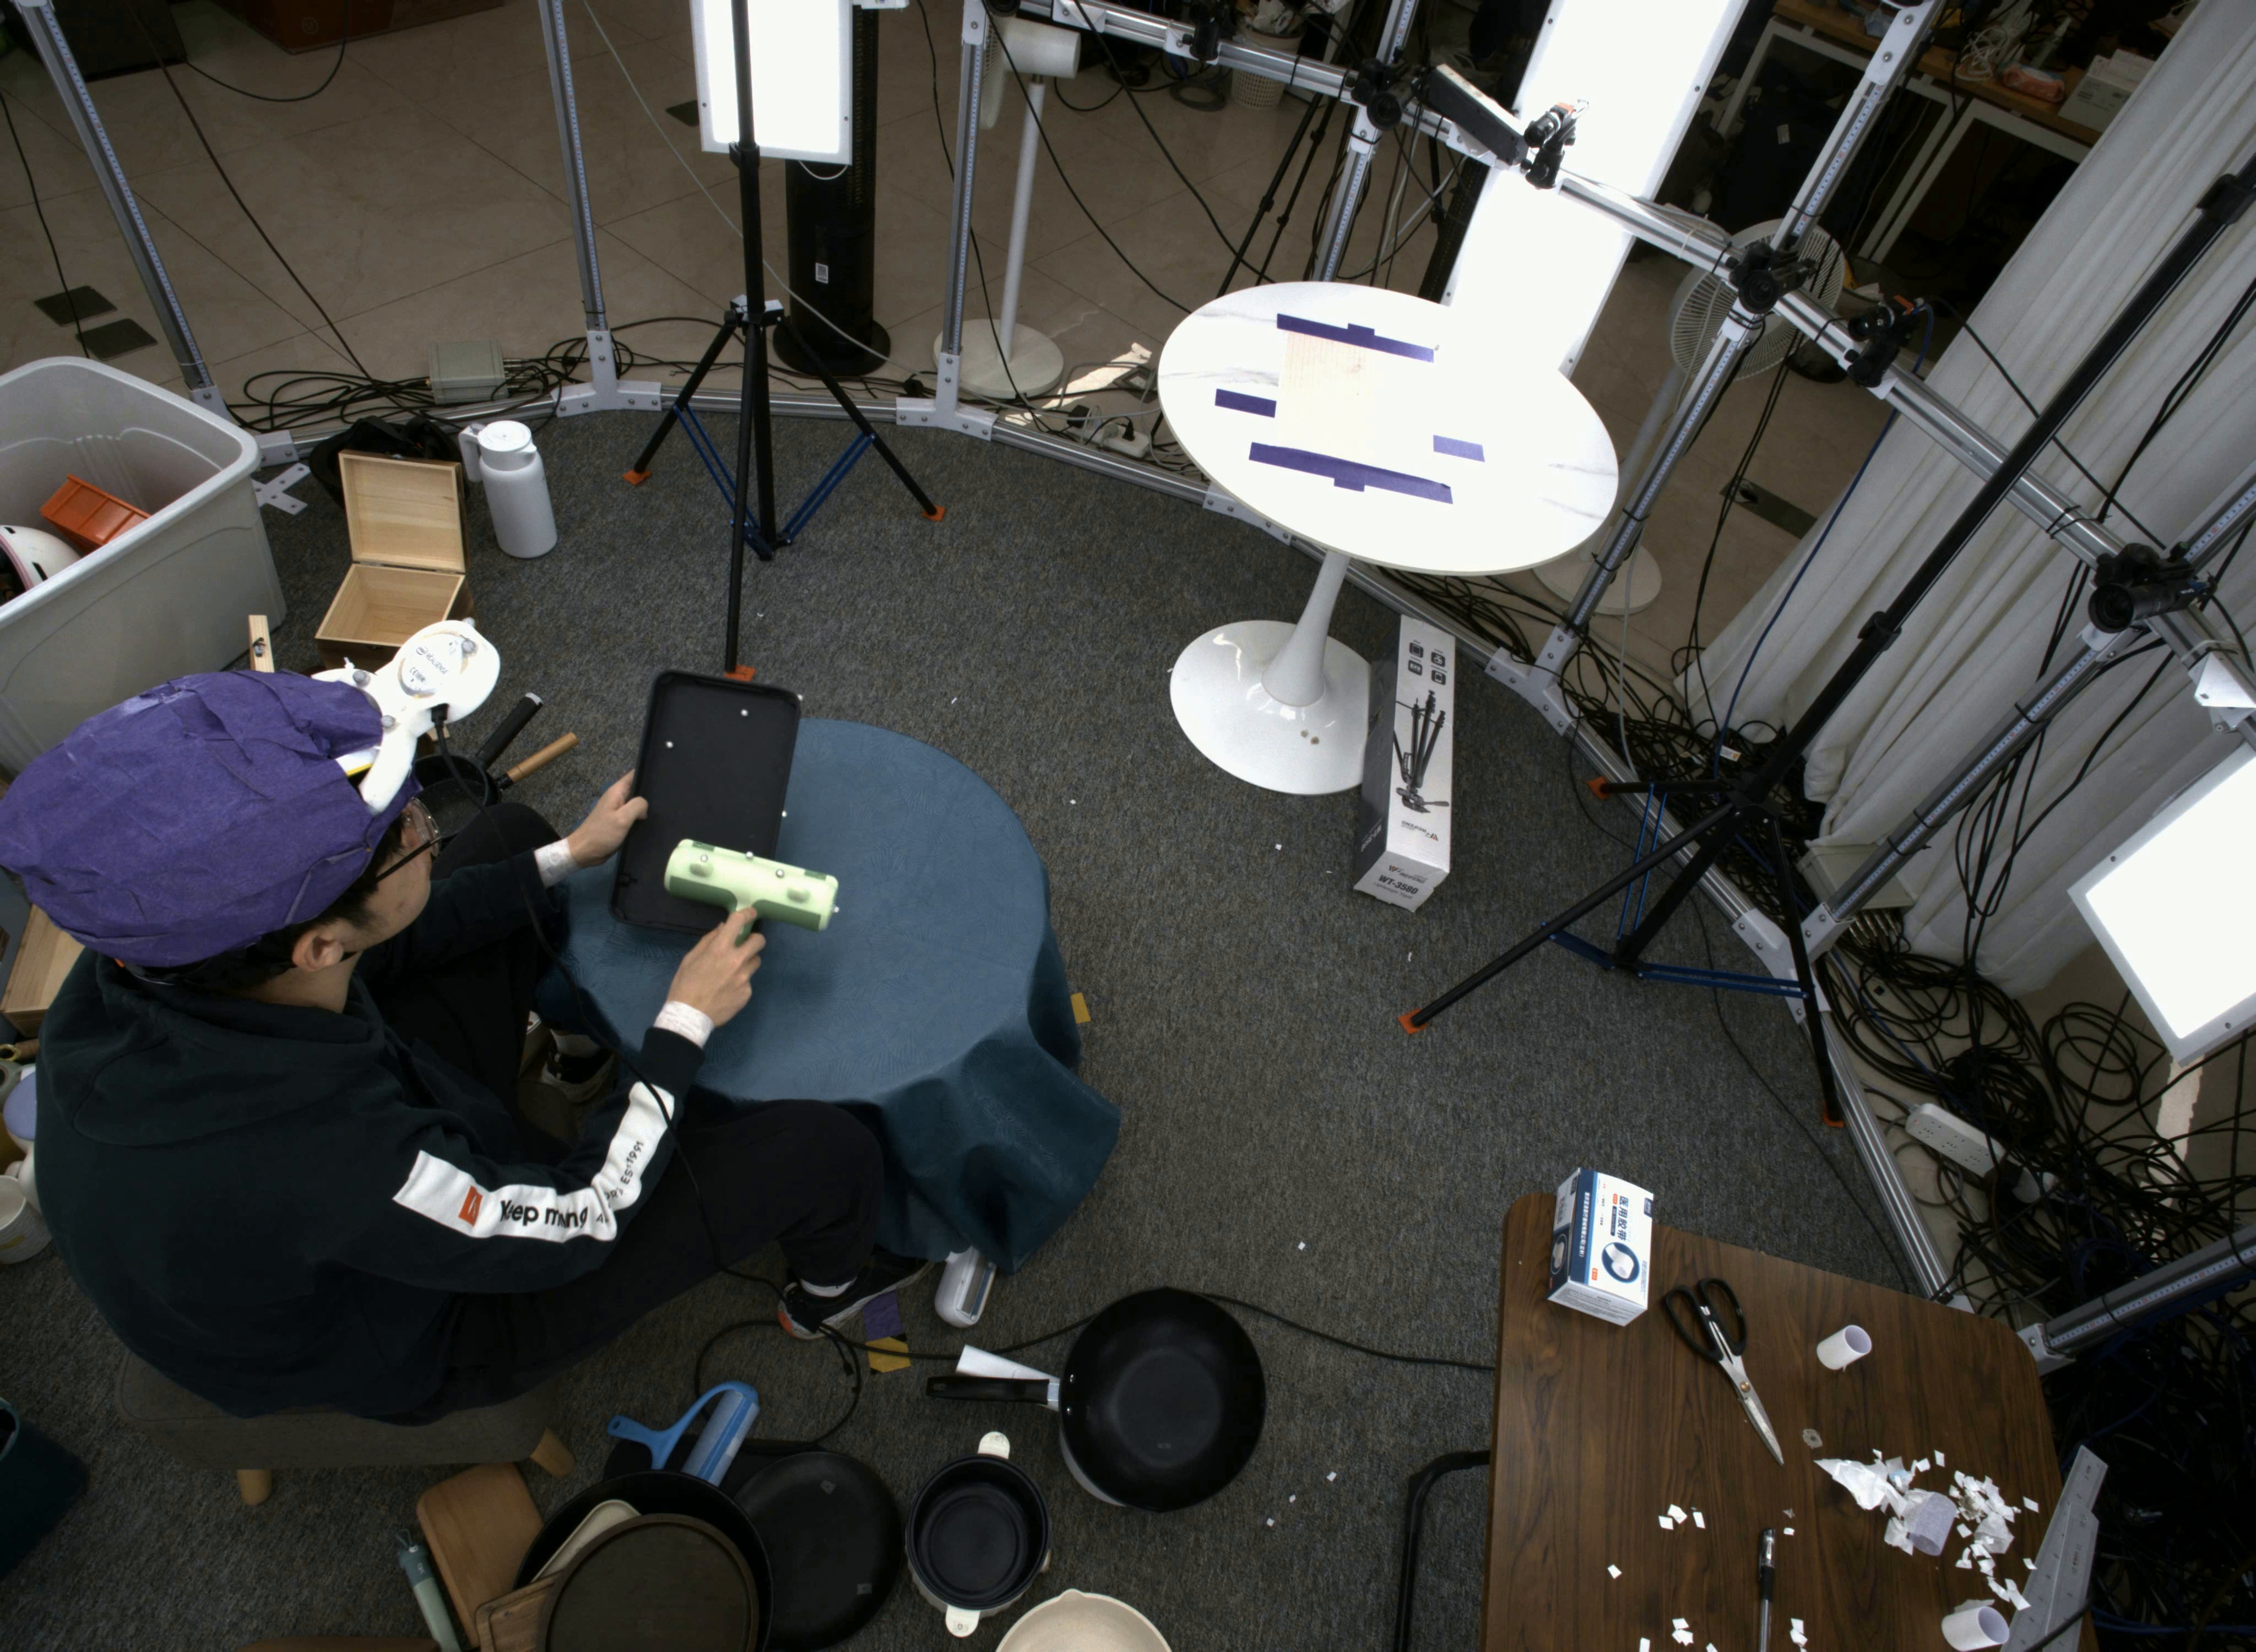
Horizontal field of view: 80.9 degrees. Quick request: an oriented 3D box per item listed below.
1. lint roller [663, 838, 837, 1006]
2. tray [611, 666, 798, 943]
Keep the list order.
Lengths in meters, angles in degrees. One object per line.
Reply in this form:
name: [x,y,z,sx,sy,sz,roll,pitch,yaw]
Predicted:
lint roller: [-0.456,0.111,1.502,0.199,0.083,0.181,16,56,-9]
tray: [-0.518,-0.027,1.583,0.184,0.037,0.319,9,83,-9]
